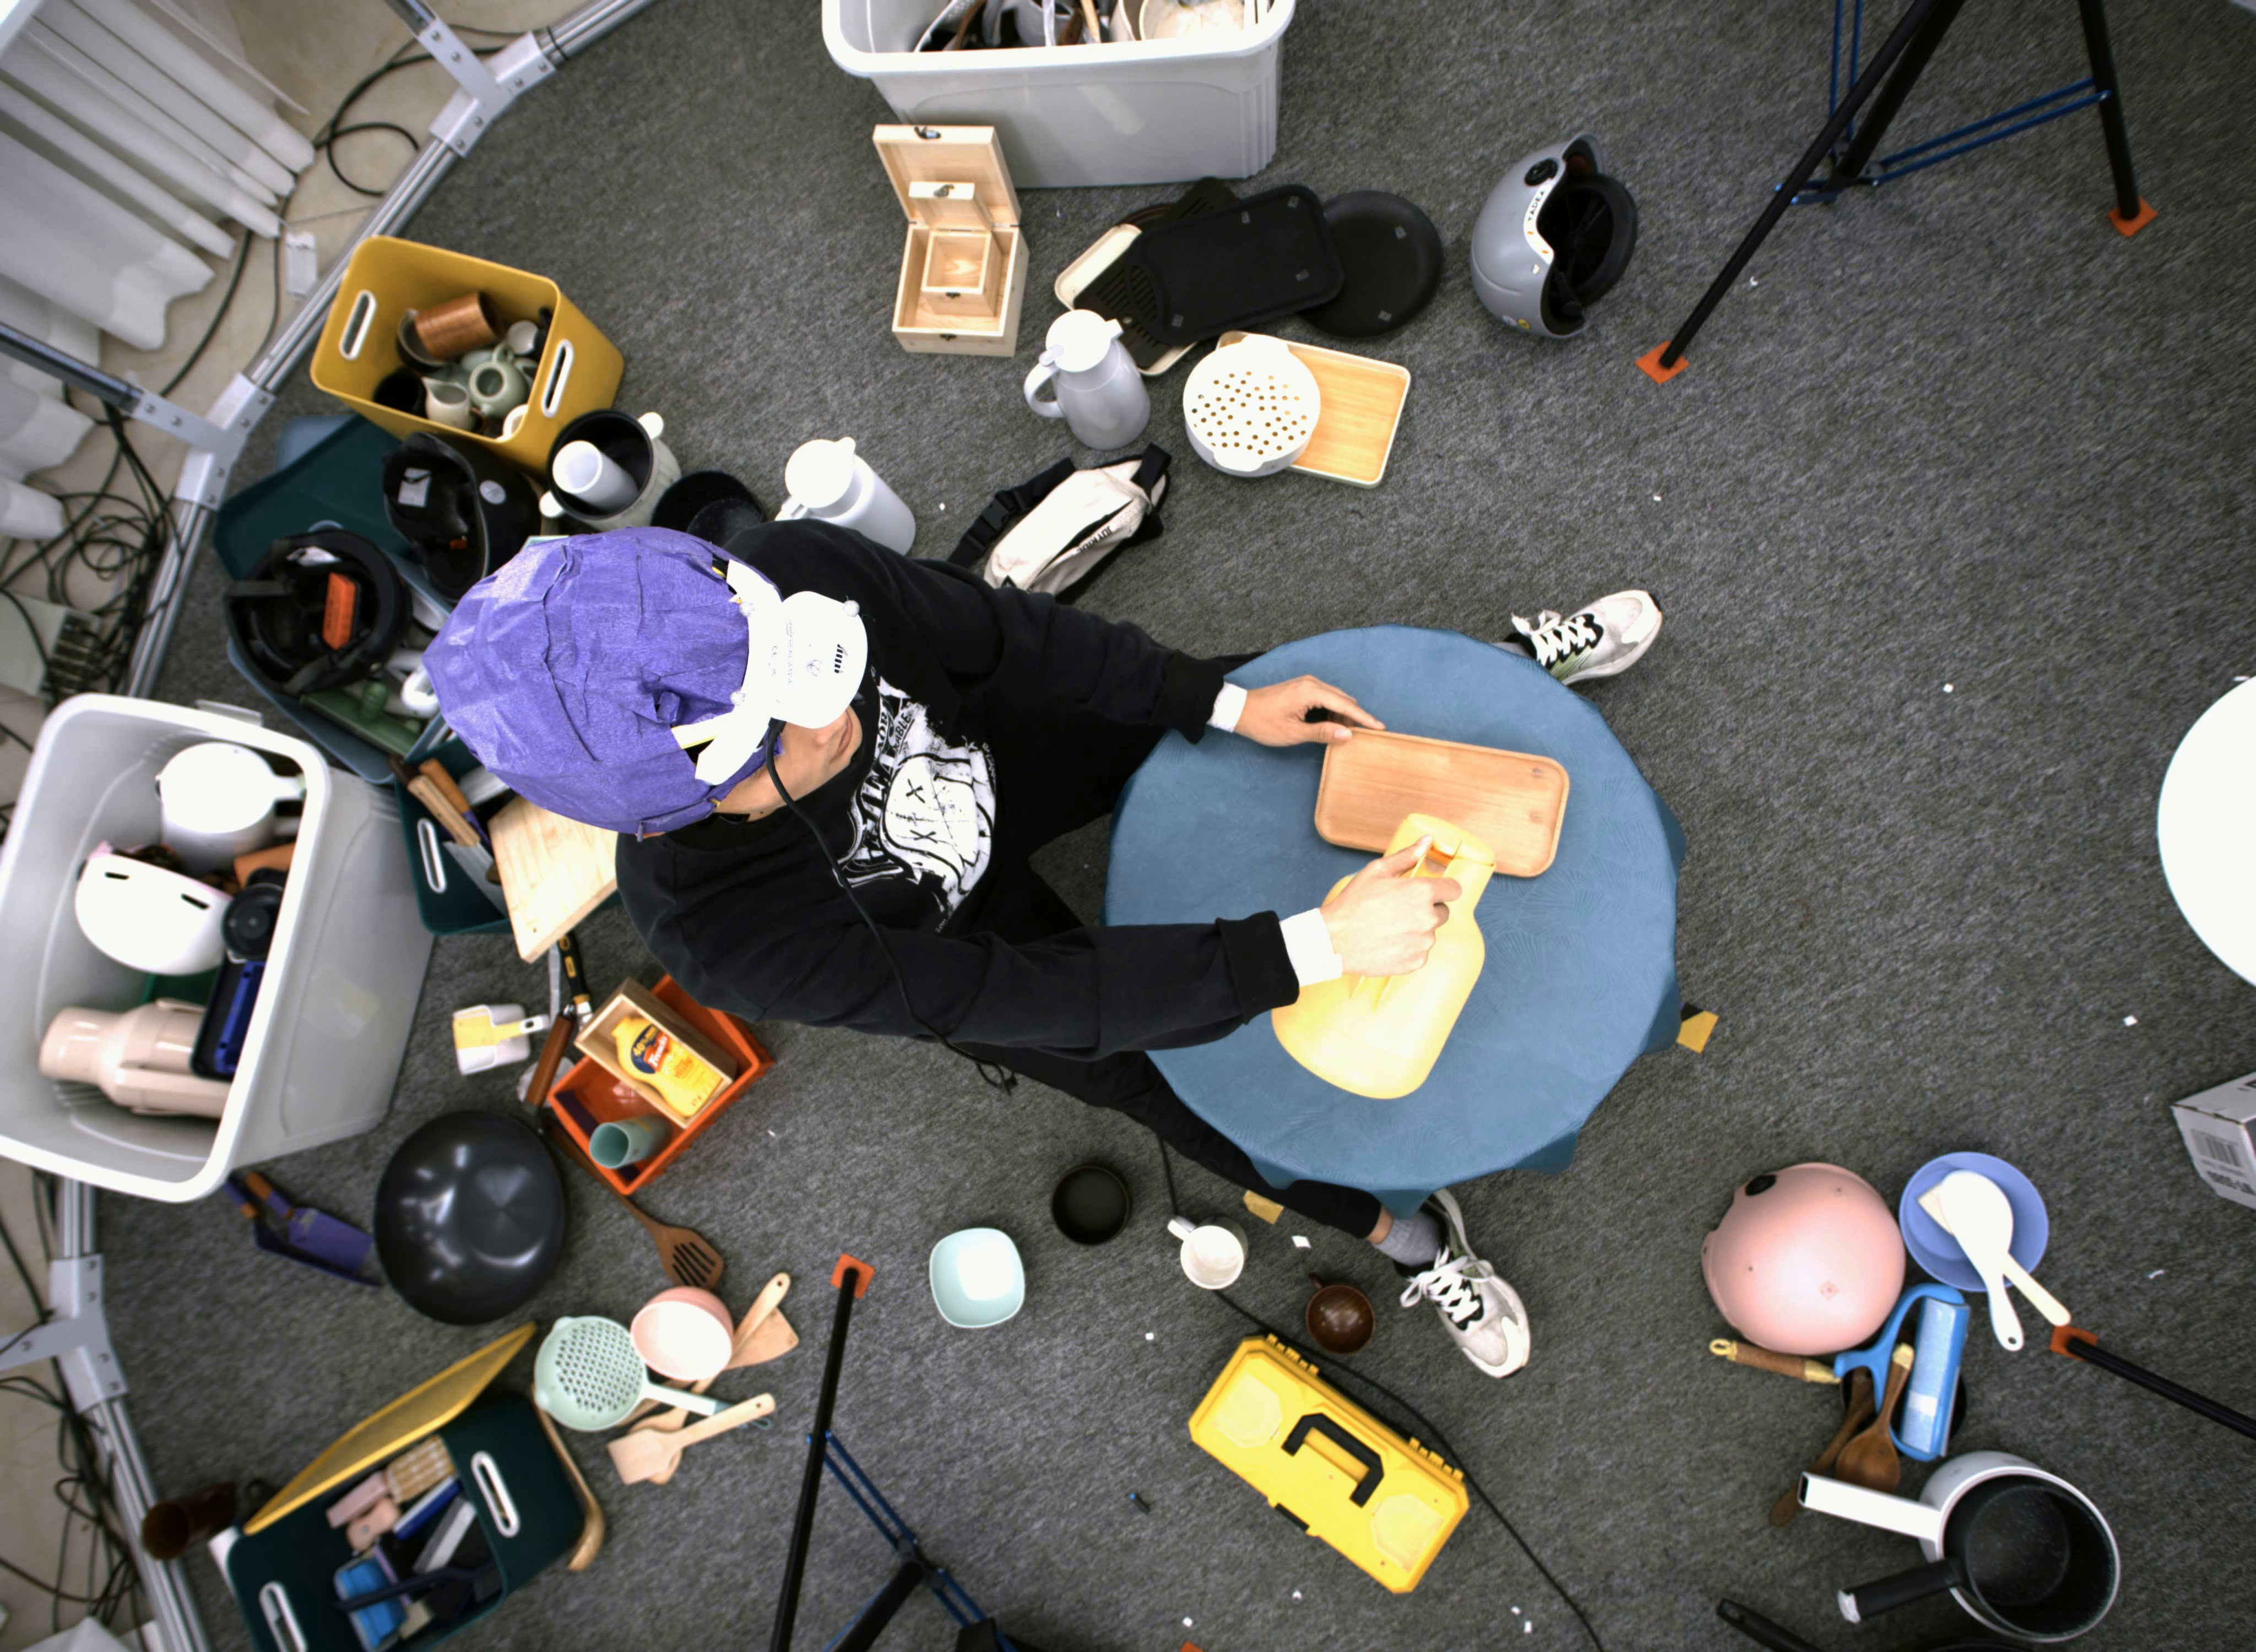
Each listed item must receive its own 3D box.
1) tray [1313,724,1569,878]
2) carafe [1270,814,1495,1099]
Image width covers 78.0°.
[{"bbox_3d":[0.323,-0.028,1.427,0.251,0.022,0.132,11,104,9],"label":"tray"},{"bbox_3d":[0.244,0.118,1.292,0.163,0.200,0.263,27,104,17],"label":"carafe"}]
